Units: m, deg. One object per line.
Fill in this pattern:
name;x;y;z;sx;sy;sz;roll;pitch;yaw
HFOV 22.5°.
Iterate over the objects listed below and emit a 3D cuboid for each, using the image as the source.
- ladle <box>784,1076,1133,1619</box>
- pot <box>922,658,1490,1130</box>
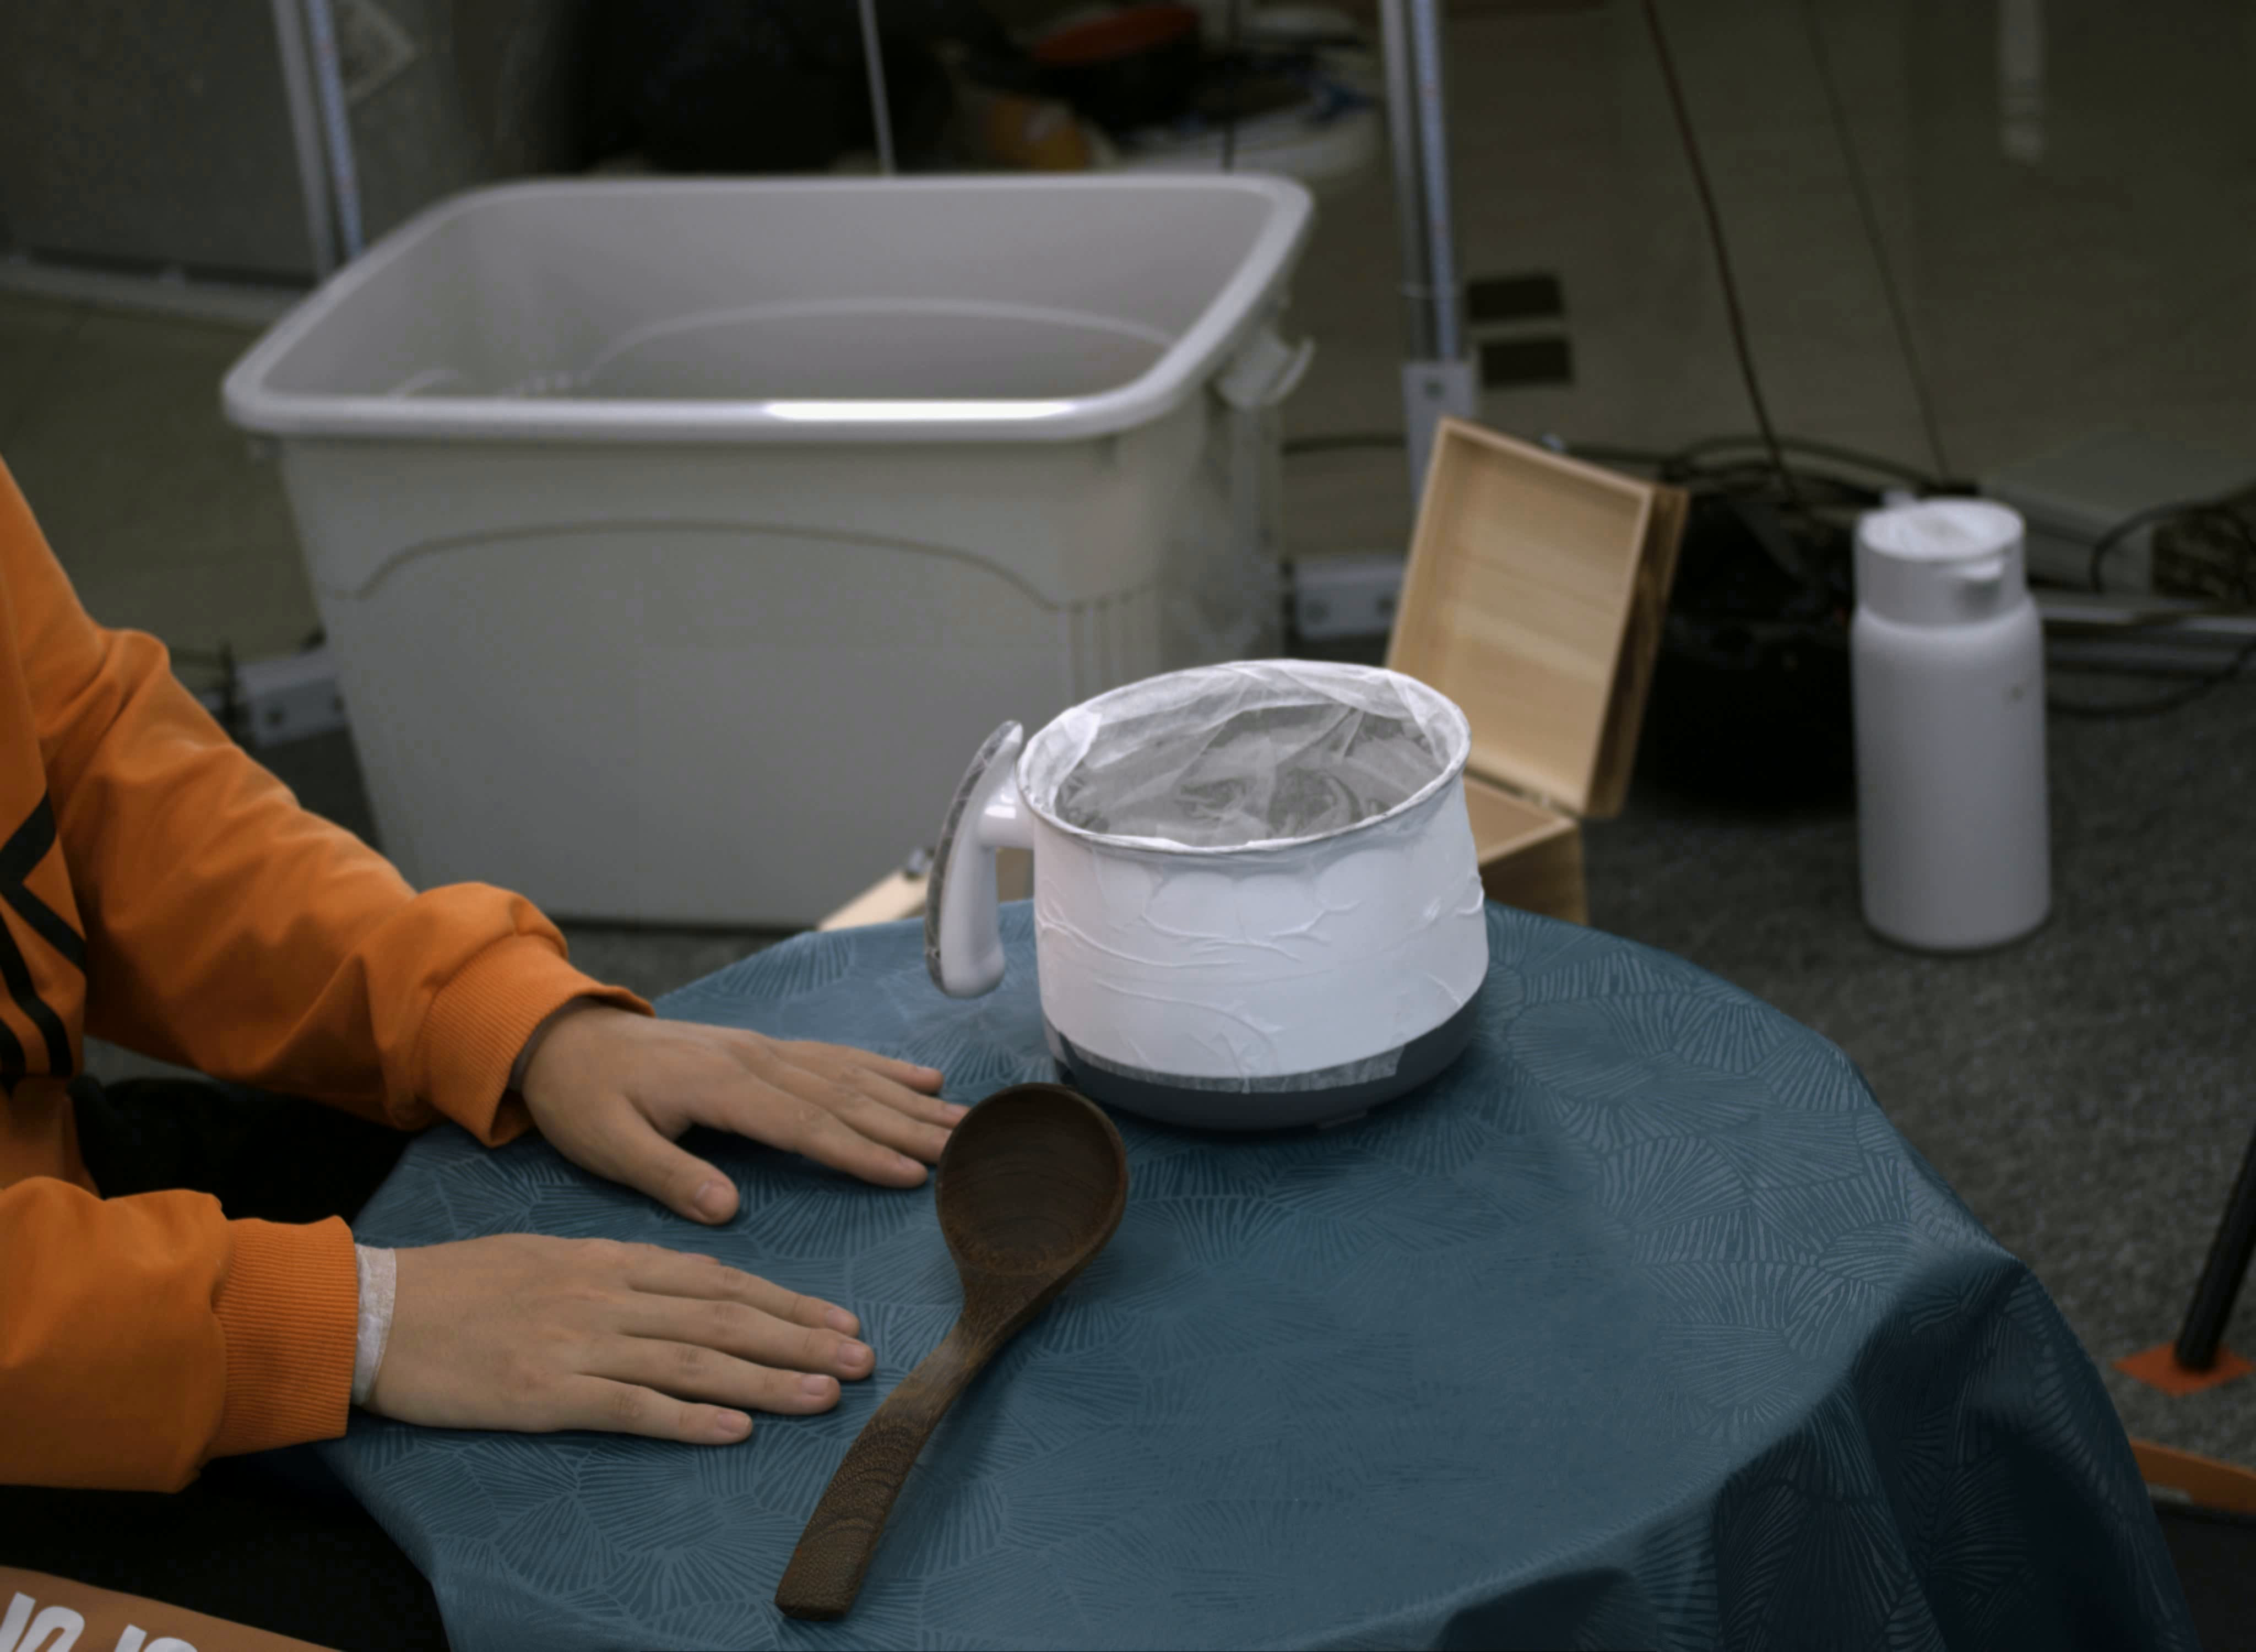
ladle;-0.067;0.177;1.999;0.076;0.072;0.270;1;25;20
pot;0.025;0.026;2.217;0.233;0.139;0.176;5;27;22
